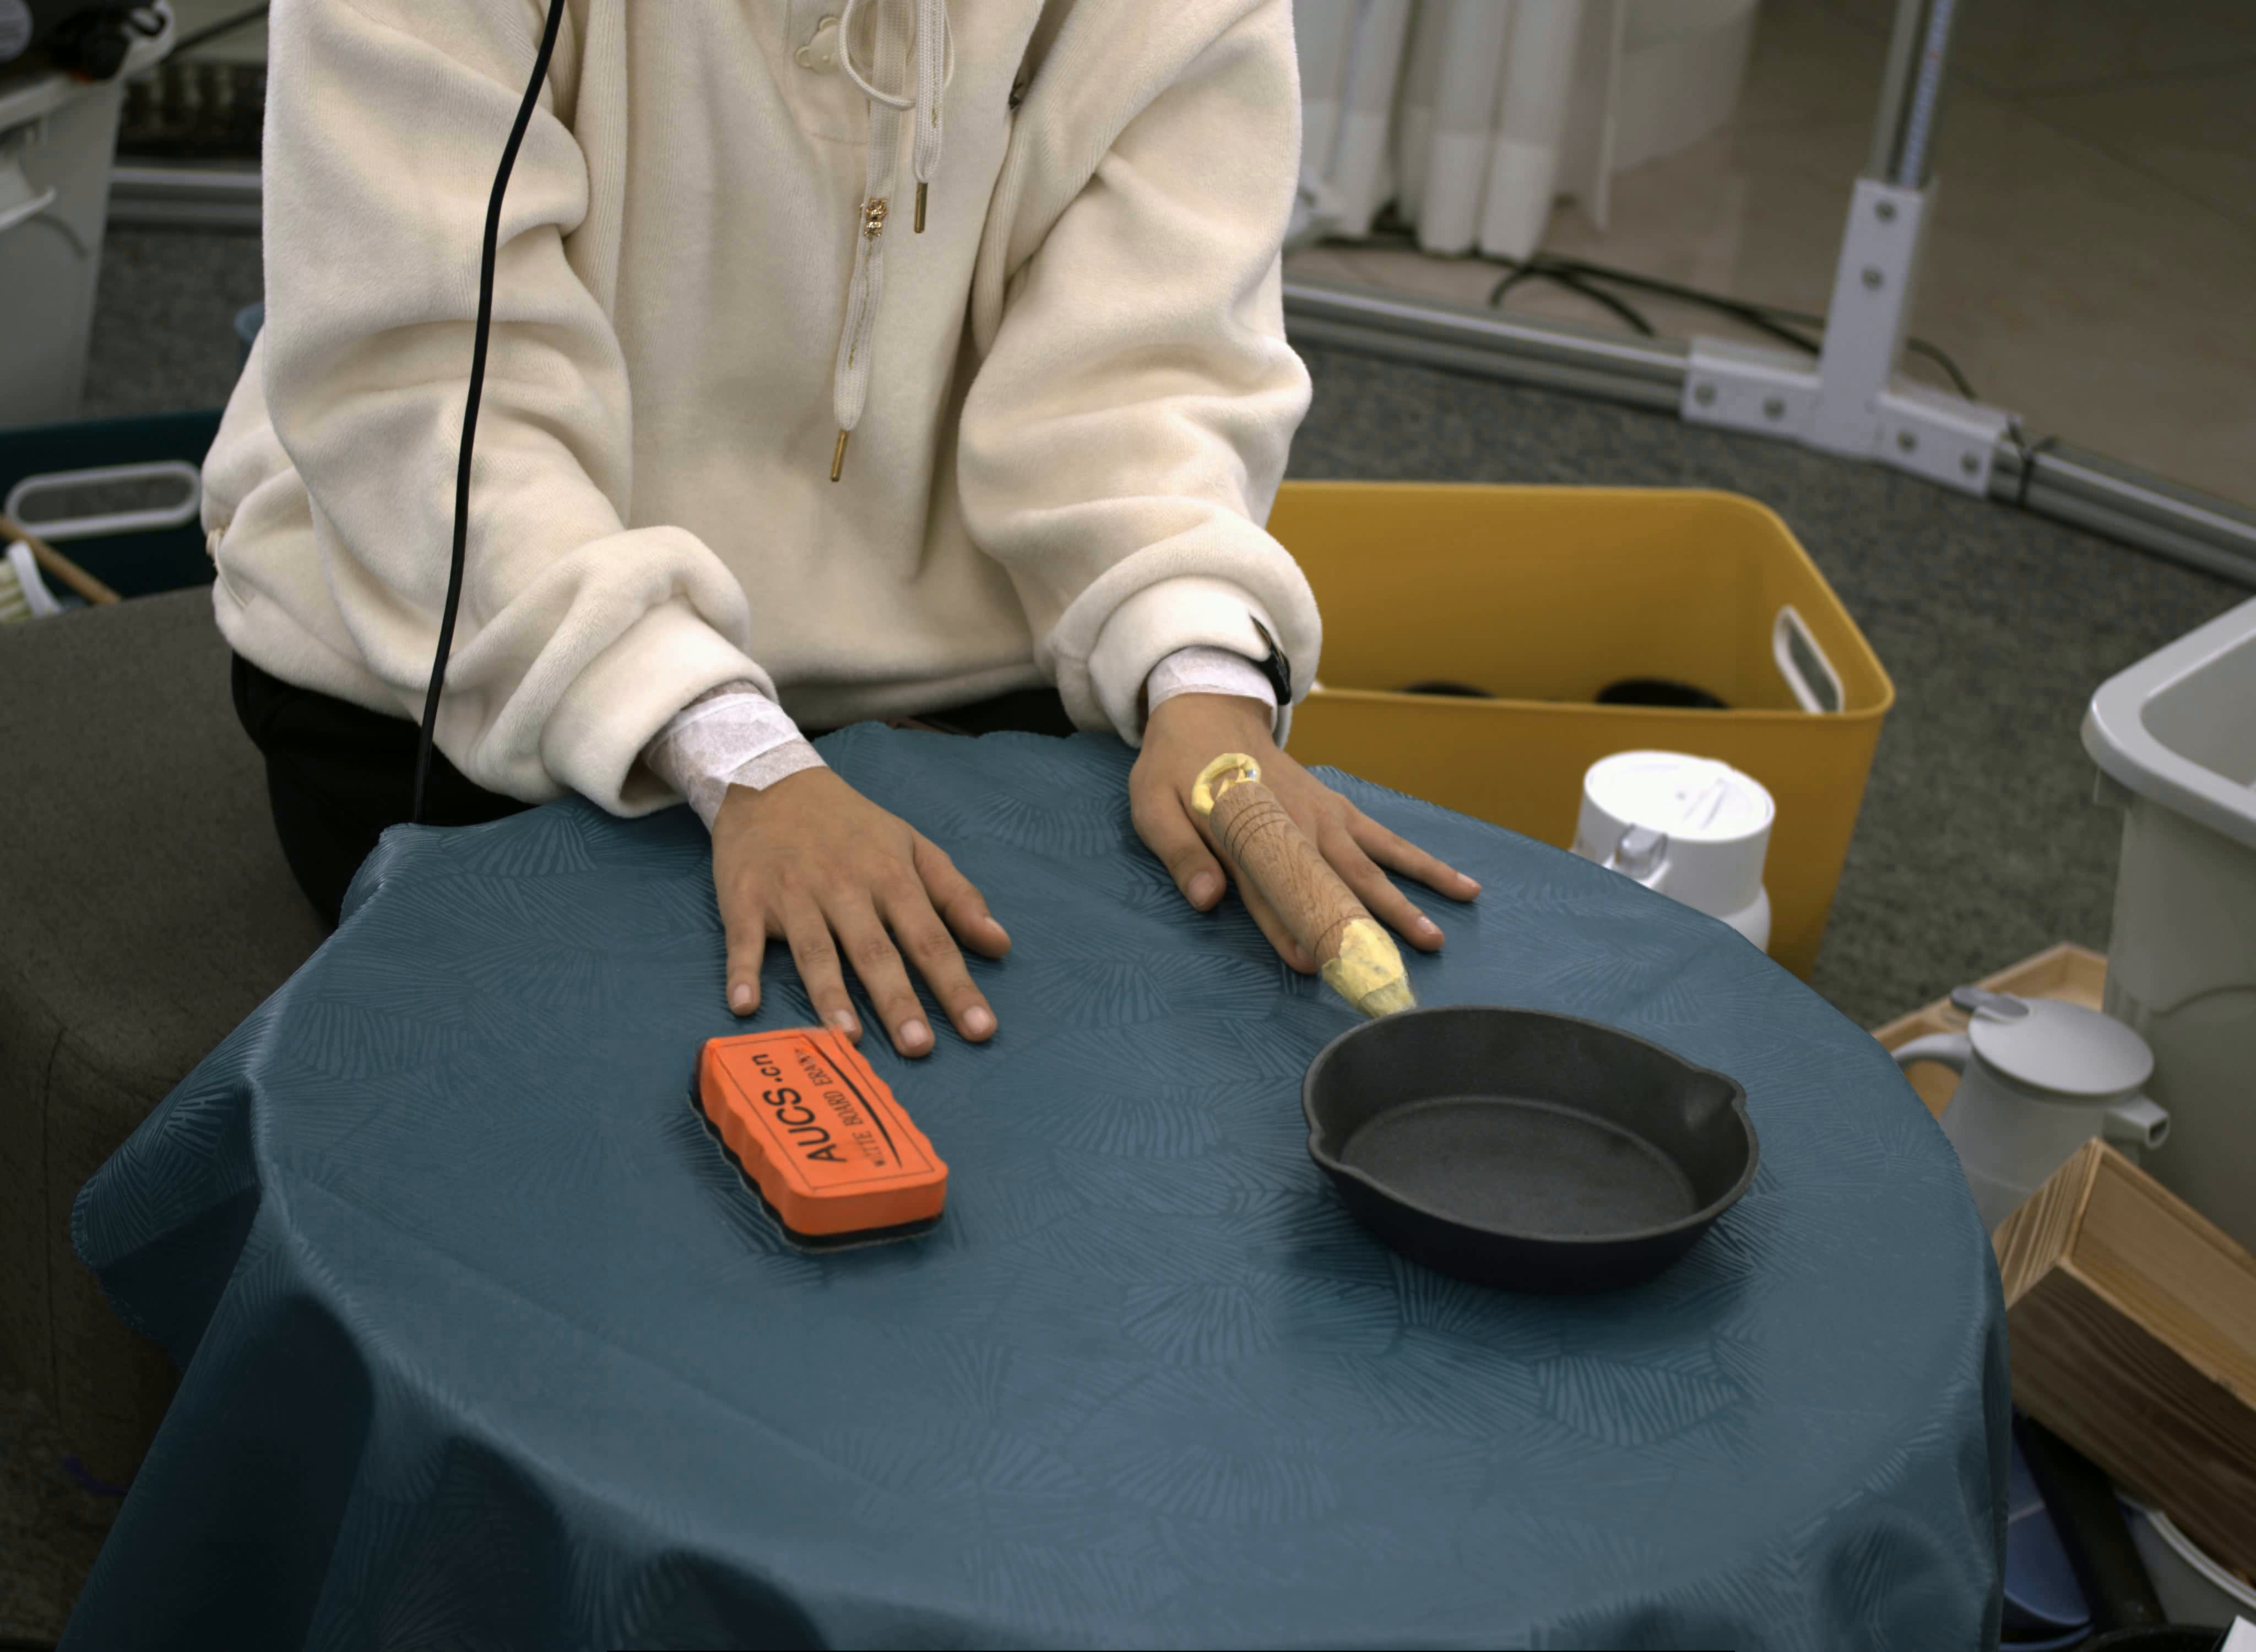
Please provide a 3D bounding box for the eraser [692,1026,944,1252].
[{"bbox_3d":[-0.105,0.104,1.790,0.058,0.023,0.109,-6,30,-23],"label":"eraser"}]

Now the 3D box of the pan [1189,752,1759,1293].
[{"bbox_3d":[0.100,0.067,1.880,0.168,0.049,0.327,-7,31,-24],"label":"pan"}]
